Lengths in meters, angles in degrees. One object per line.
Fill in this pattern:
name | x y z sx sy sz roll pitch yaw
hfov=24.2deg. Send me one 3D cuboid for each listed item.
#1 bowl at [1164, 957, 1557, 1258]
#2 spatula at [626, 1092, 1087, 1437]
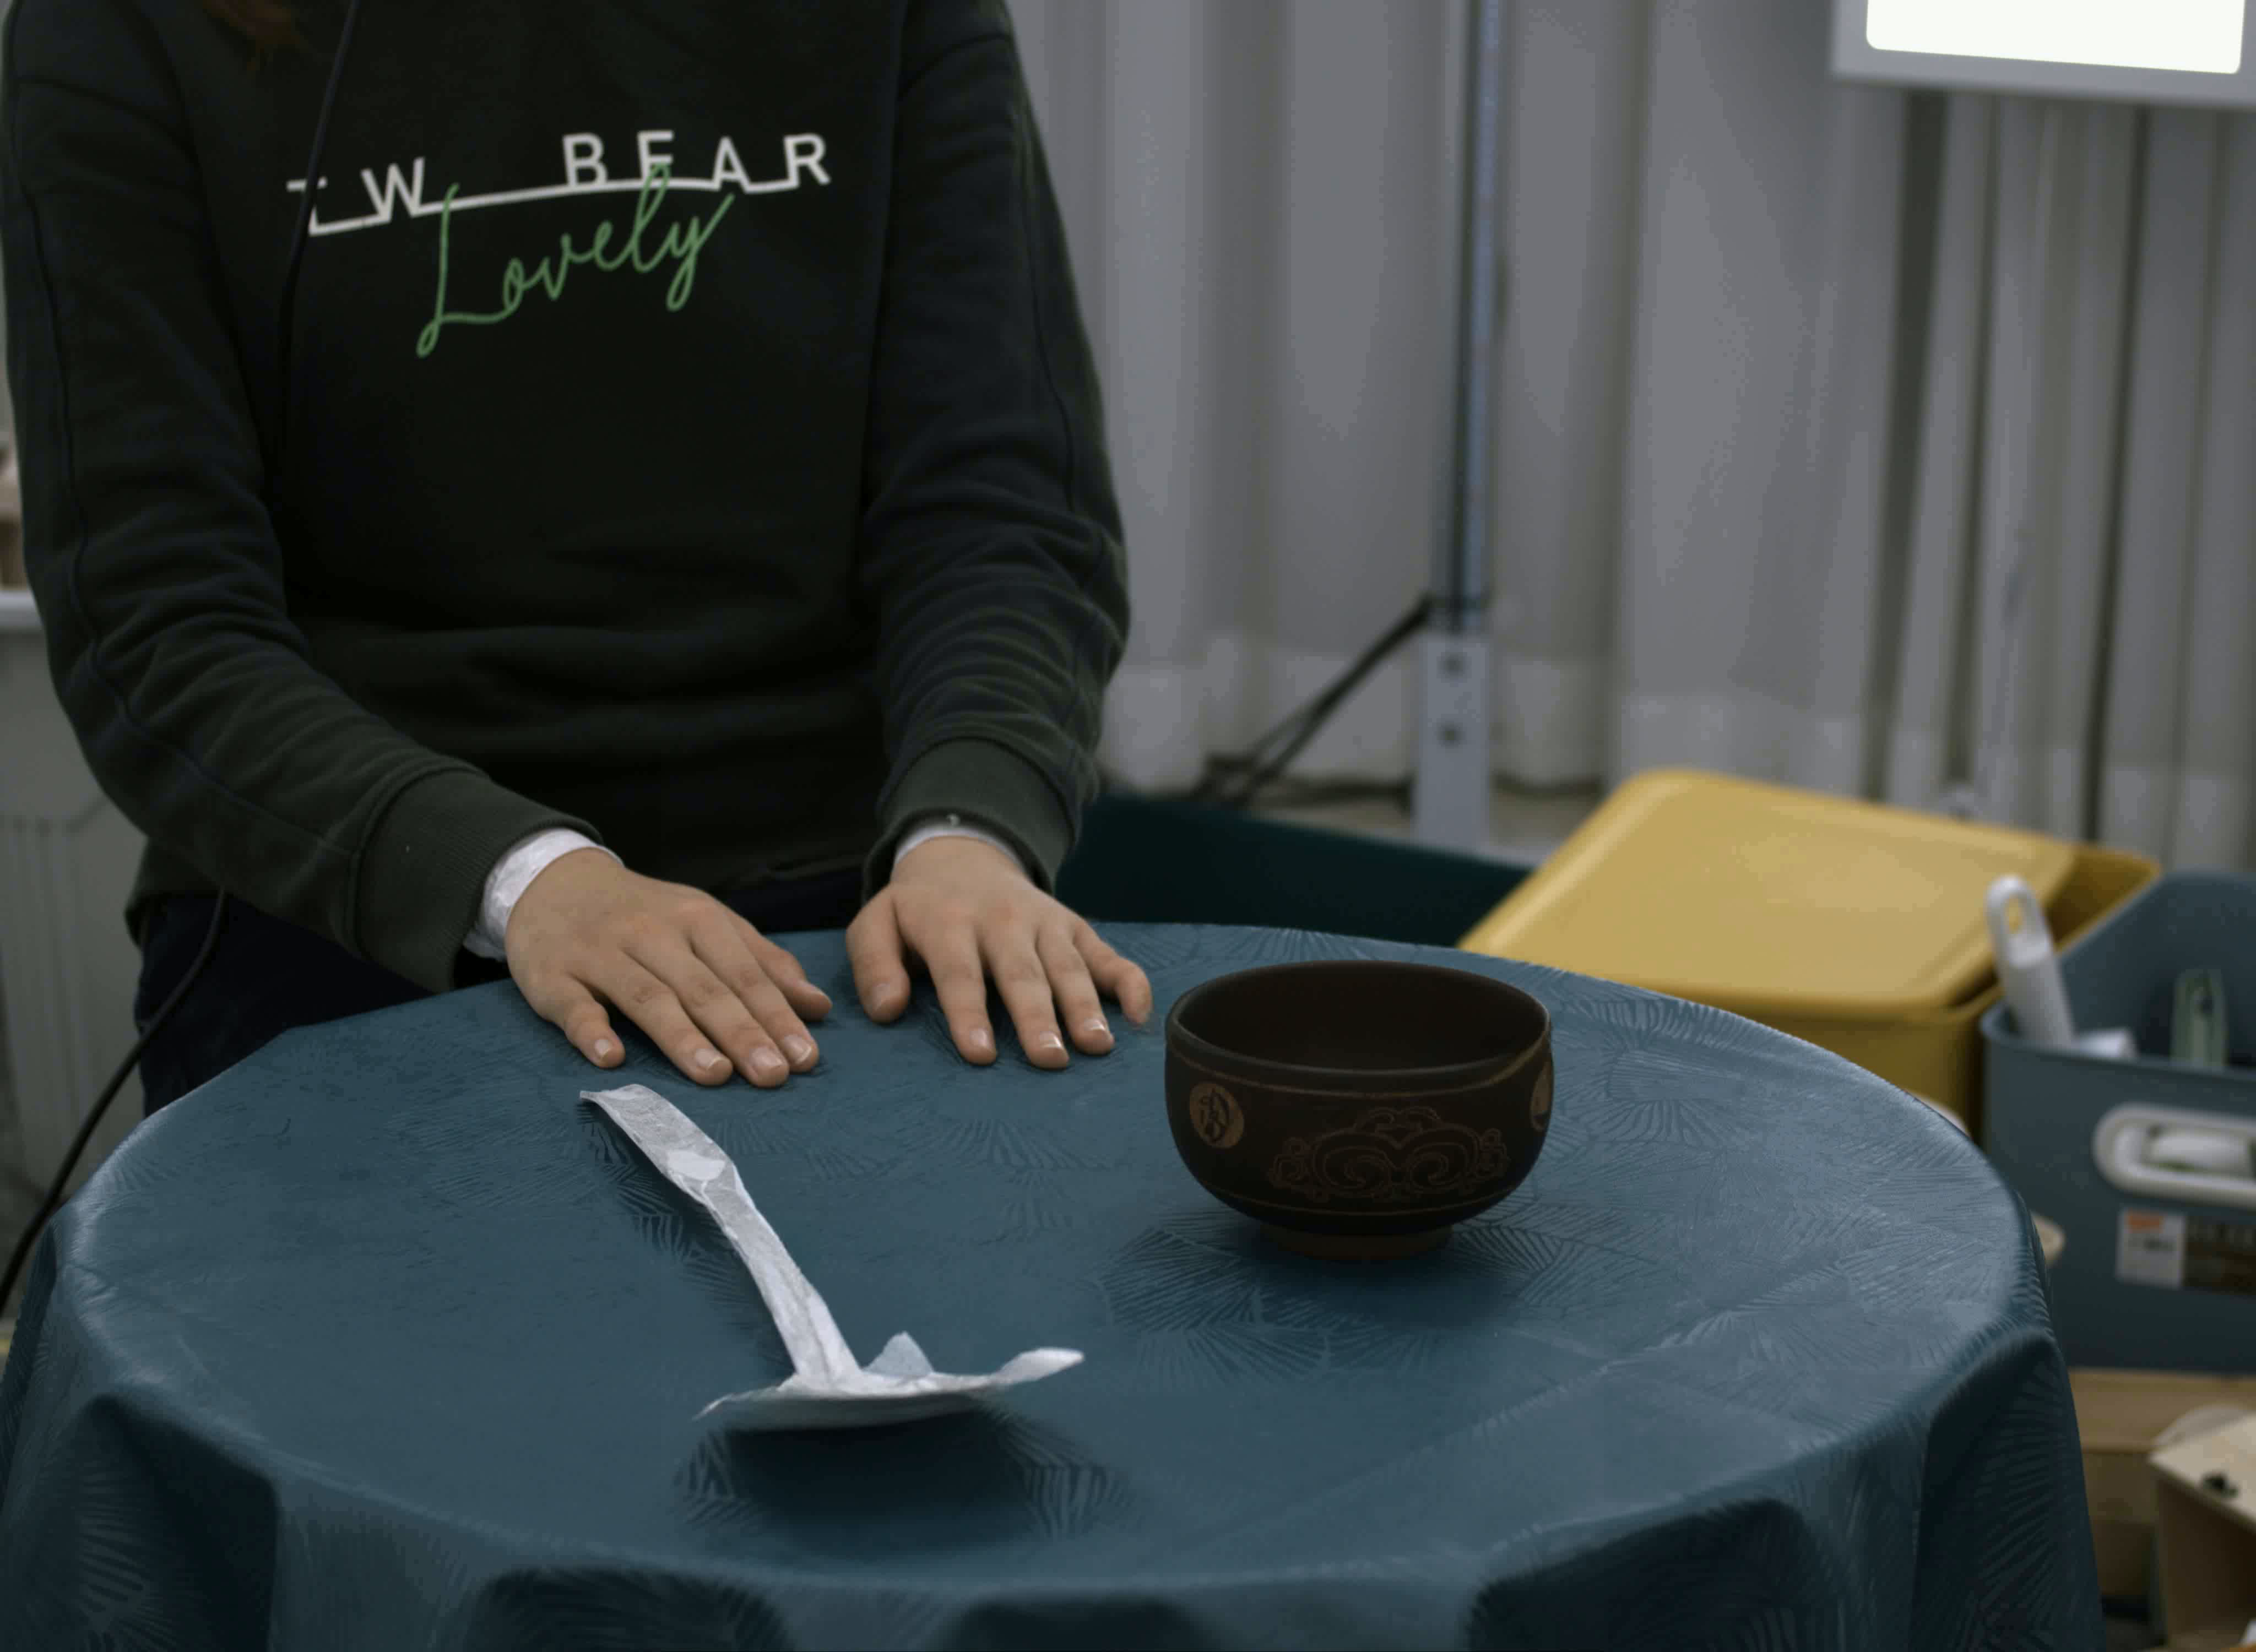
bowl | 0.069 0.088 1.584 0.117 0.070 0.117 2 15 0
spatula | -0.104 0.118 1.532 0.099 0.045 0.361 -6 17 -16
